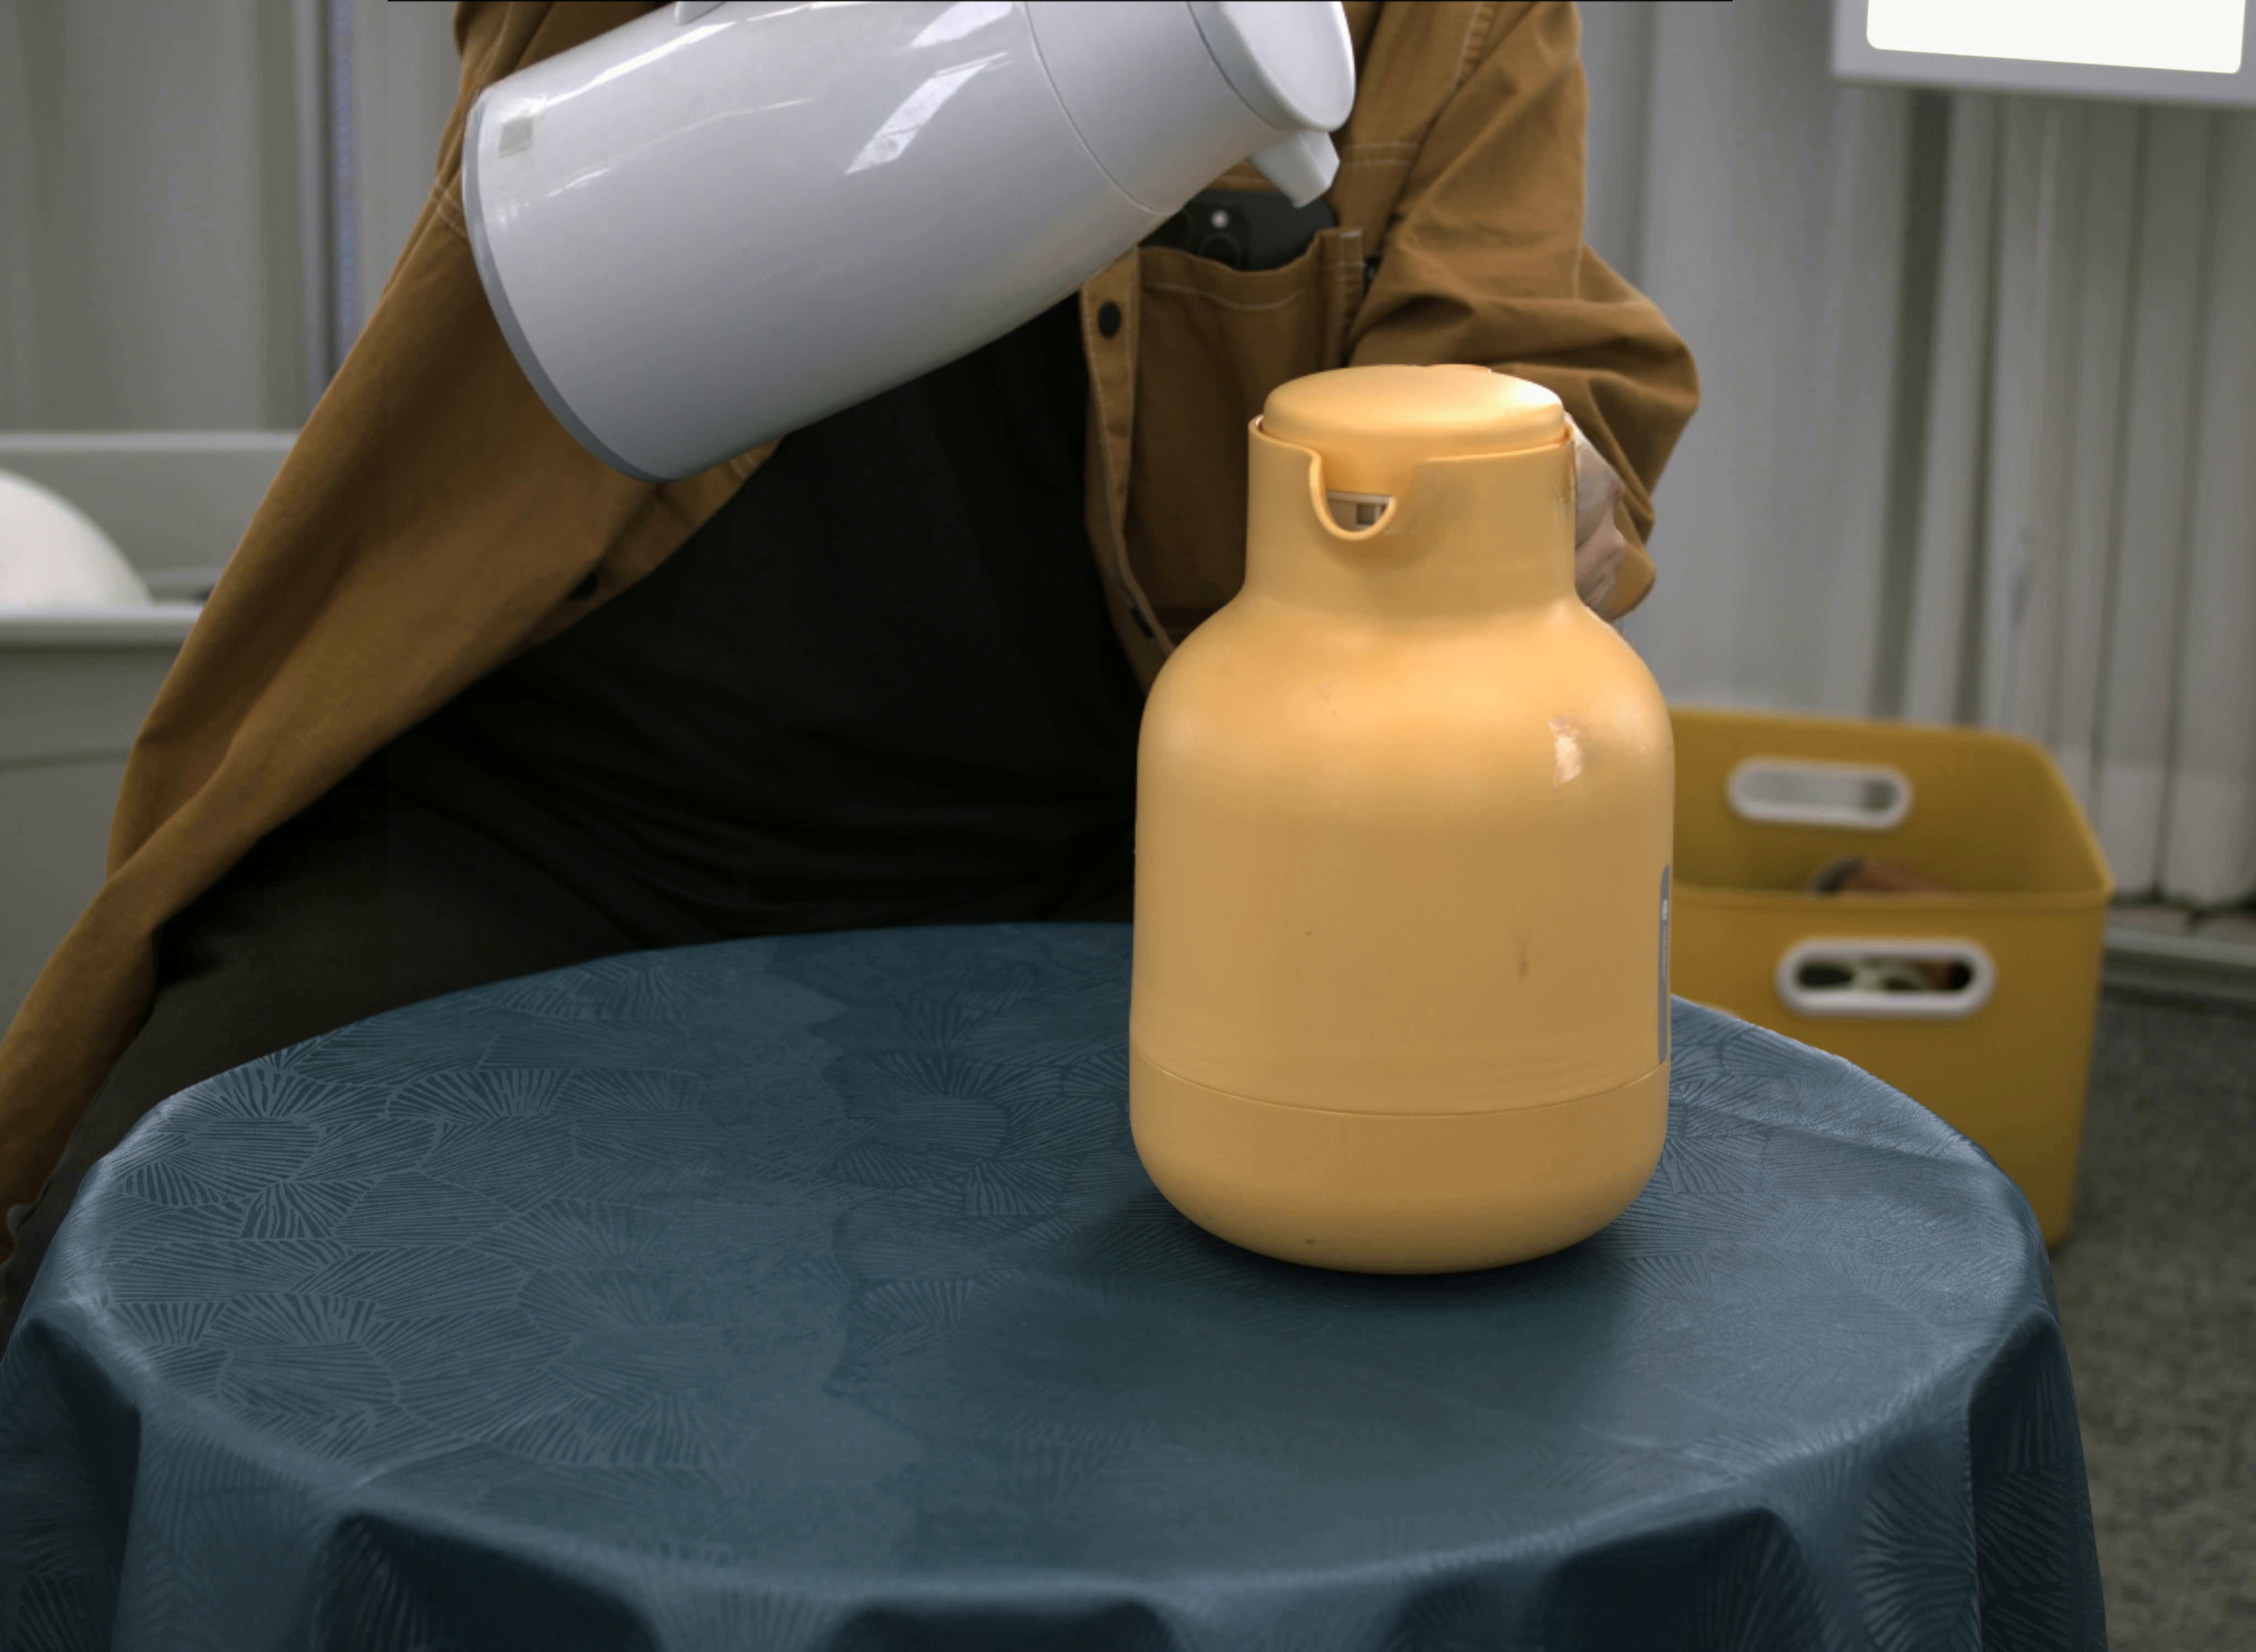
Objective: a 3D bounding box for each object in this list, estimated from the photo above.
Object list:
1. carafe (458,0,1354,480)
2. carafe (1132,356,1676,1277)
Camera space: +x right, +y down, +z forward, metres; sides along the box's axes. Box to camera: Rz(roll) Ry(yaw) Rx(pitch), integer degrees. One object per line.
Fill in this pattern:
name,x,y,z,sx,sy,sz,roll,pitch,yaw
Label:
carafe,-0.067,-0.220,1.524,0.247,0.169,0.132,-21,26,24
carafe,0.090,-0.011,1.583,0.162,0.262,0.202,7,18,17
